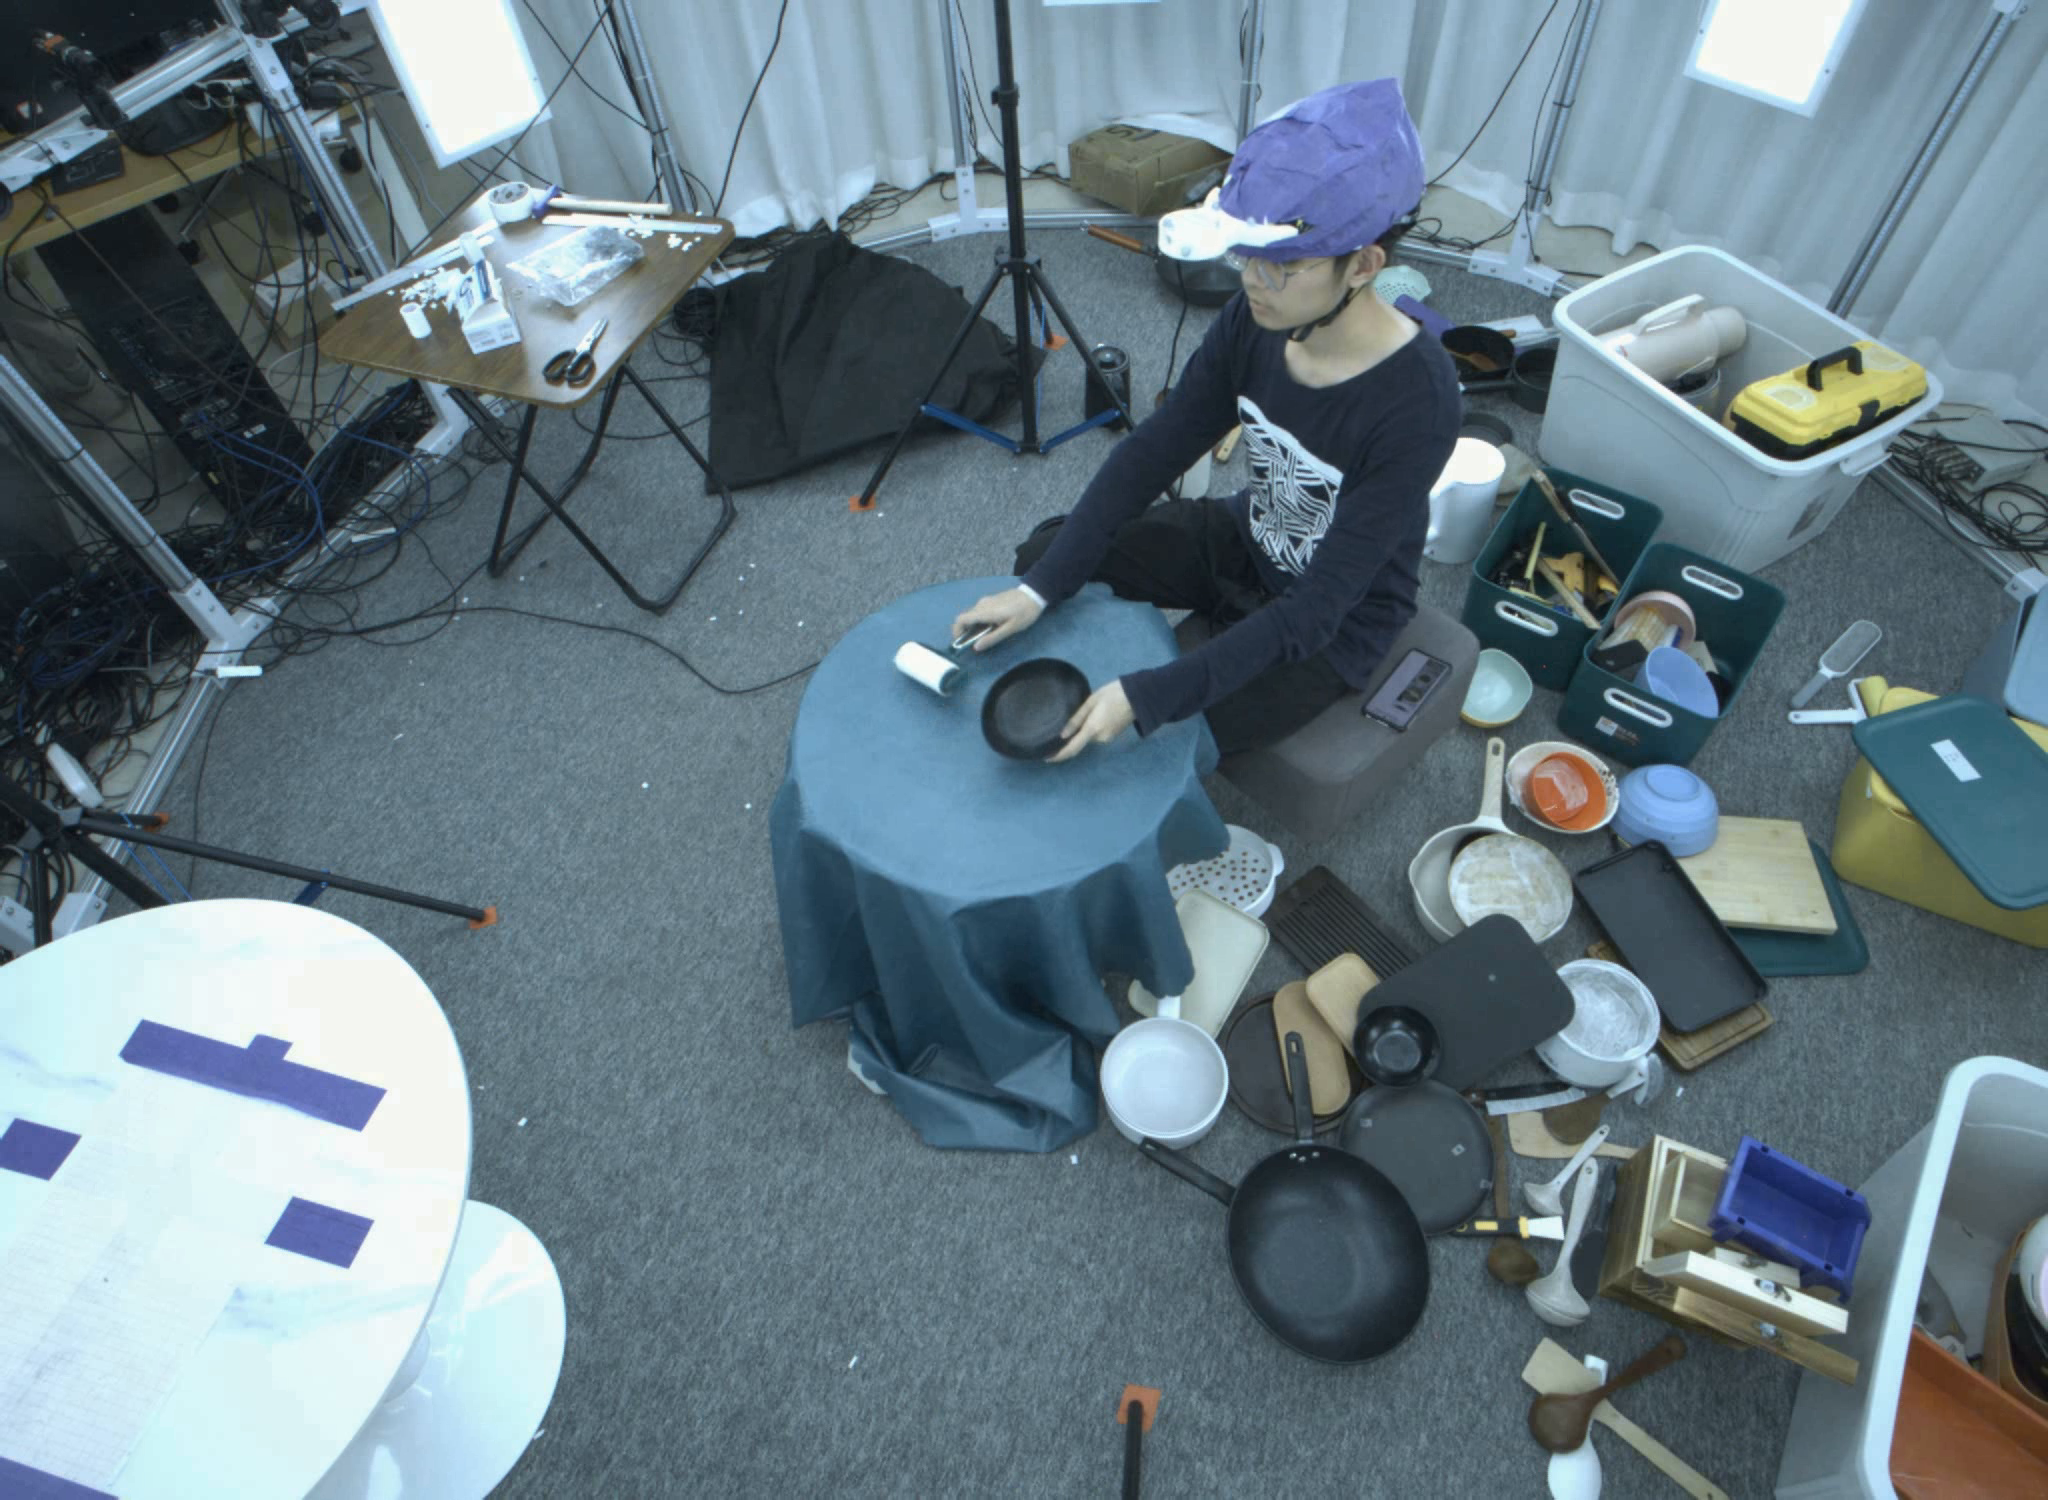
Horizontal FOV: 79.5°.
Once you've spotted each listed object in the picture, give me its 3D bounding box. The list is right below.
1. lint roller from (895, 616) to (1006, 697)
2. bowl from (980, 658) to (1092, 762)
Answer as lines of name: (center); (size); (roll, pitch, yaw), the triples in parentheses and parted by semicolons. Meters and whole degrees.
lint roller: (-0.097, -0.162, 1.857); (0.131, 0.049, 0.181); (31, 63, 33)
bowl: (0.013, -0.059, 1.748); (0.171, 0.066, 0.138); (-33, 99, -11)
